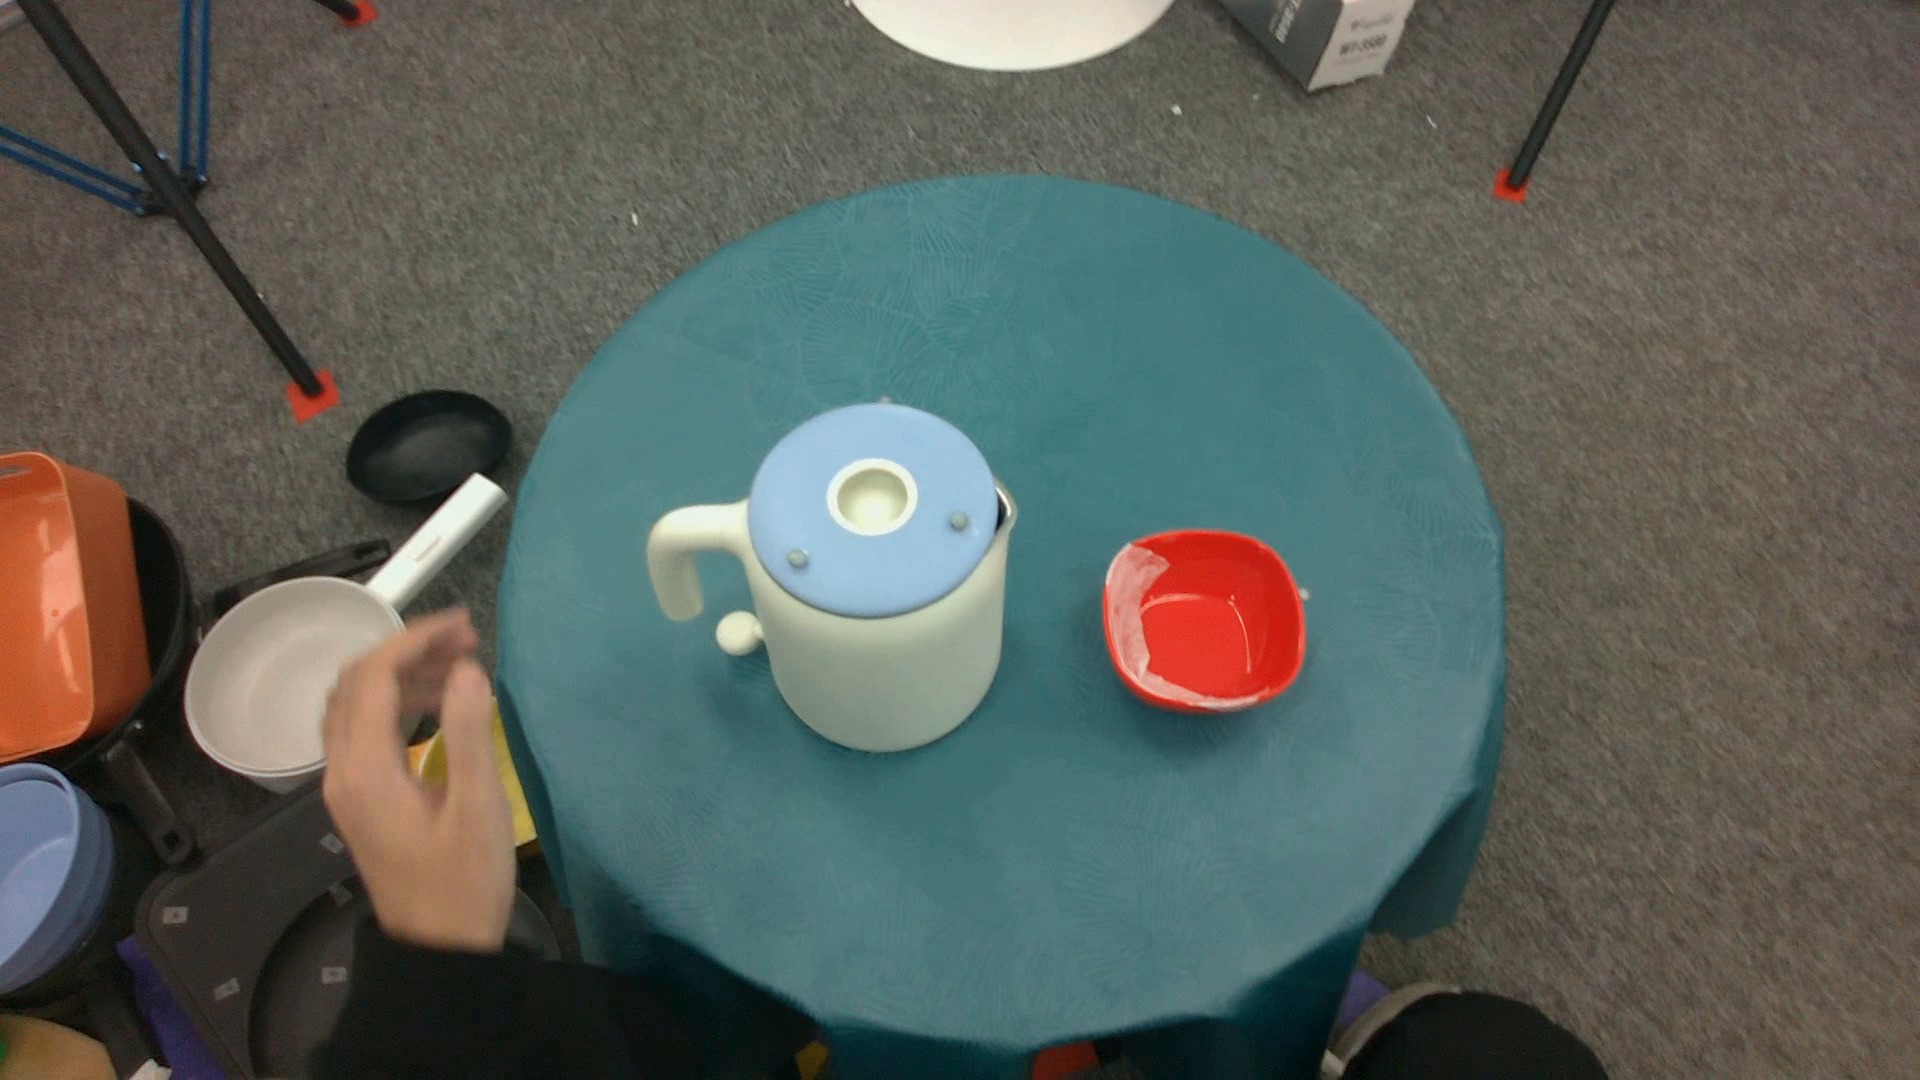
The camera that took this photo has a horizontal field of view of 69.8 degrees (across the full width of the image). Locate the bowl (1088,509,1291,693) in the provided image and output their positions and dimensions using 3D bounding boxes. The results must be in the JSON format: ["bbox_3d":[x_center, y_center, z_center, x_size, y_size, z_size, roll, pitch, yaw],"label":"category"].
[{"bbox_3d":[0.124,0.042,0.770,0.119,0.051,0.119,1,58,-2],"label":"bowl"}]

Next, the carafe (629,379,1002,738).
[{"bbox_3d":[-0.073,0.014,0.715,0.191,0.182,0.133,-2,60,1],"label":"carafe"}]
